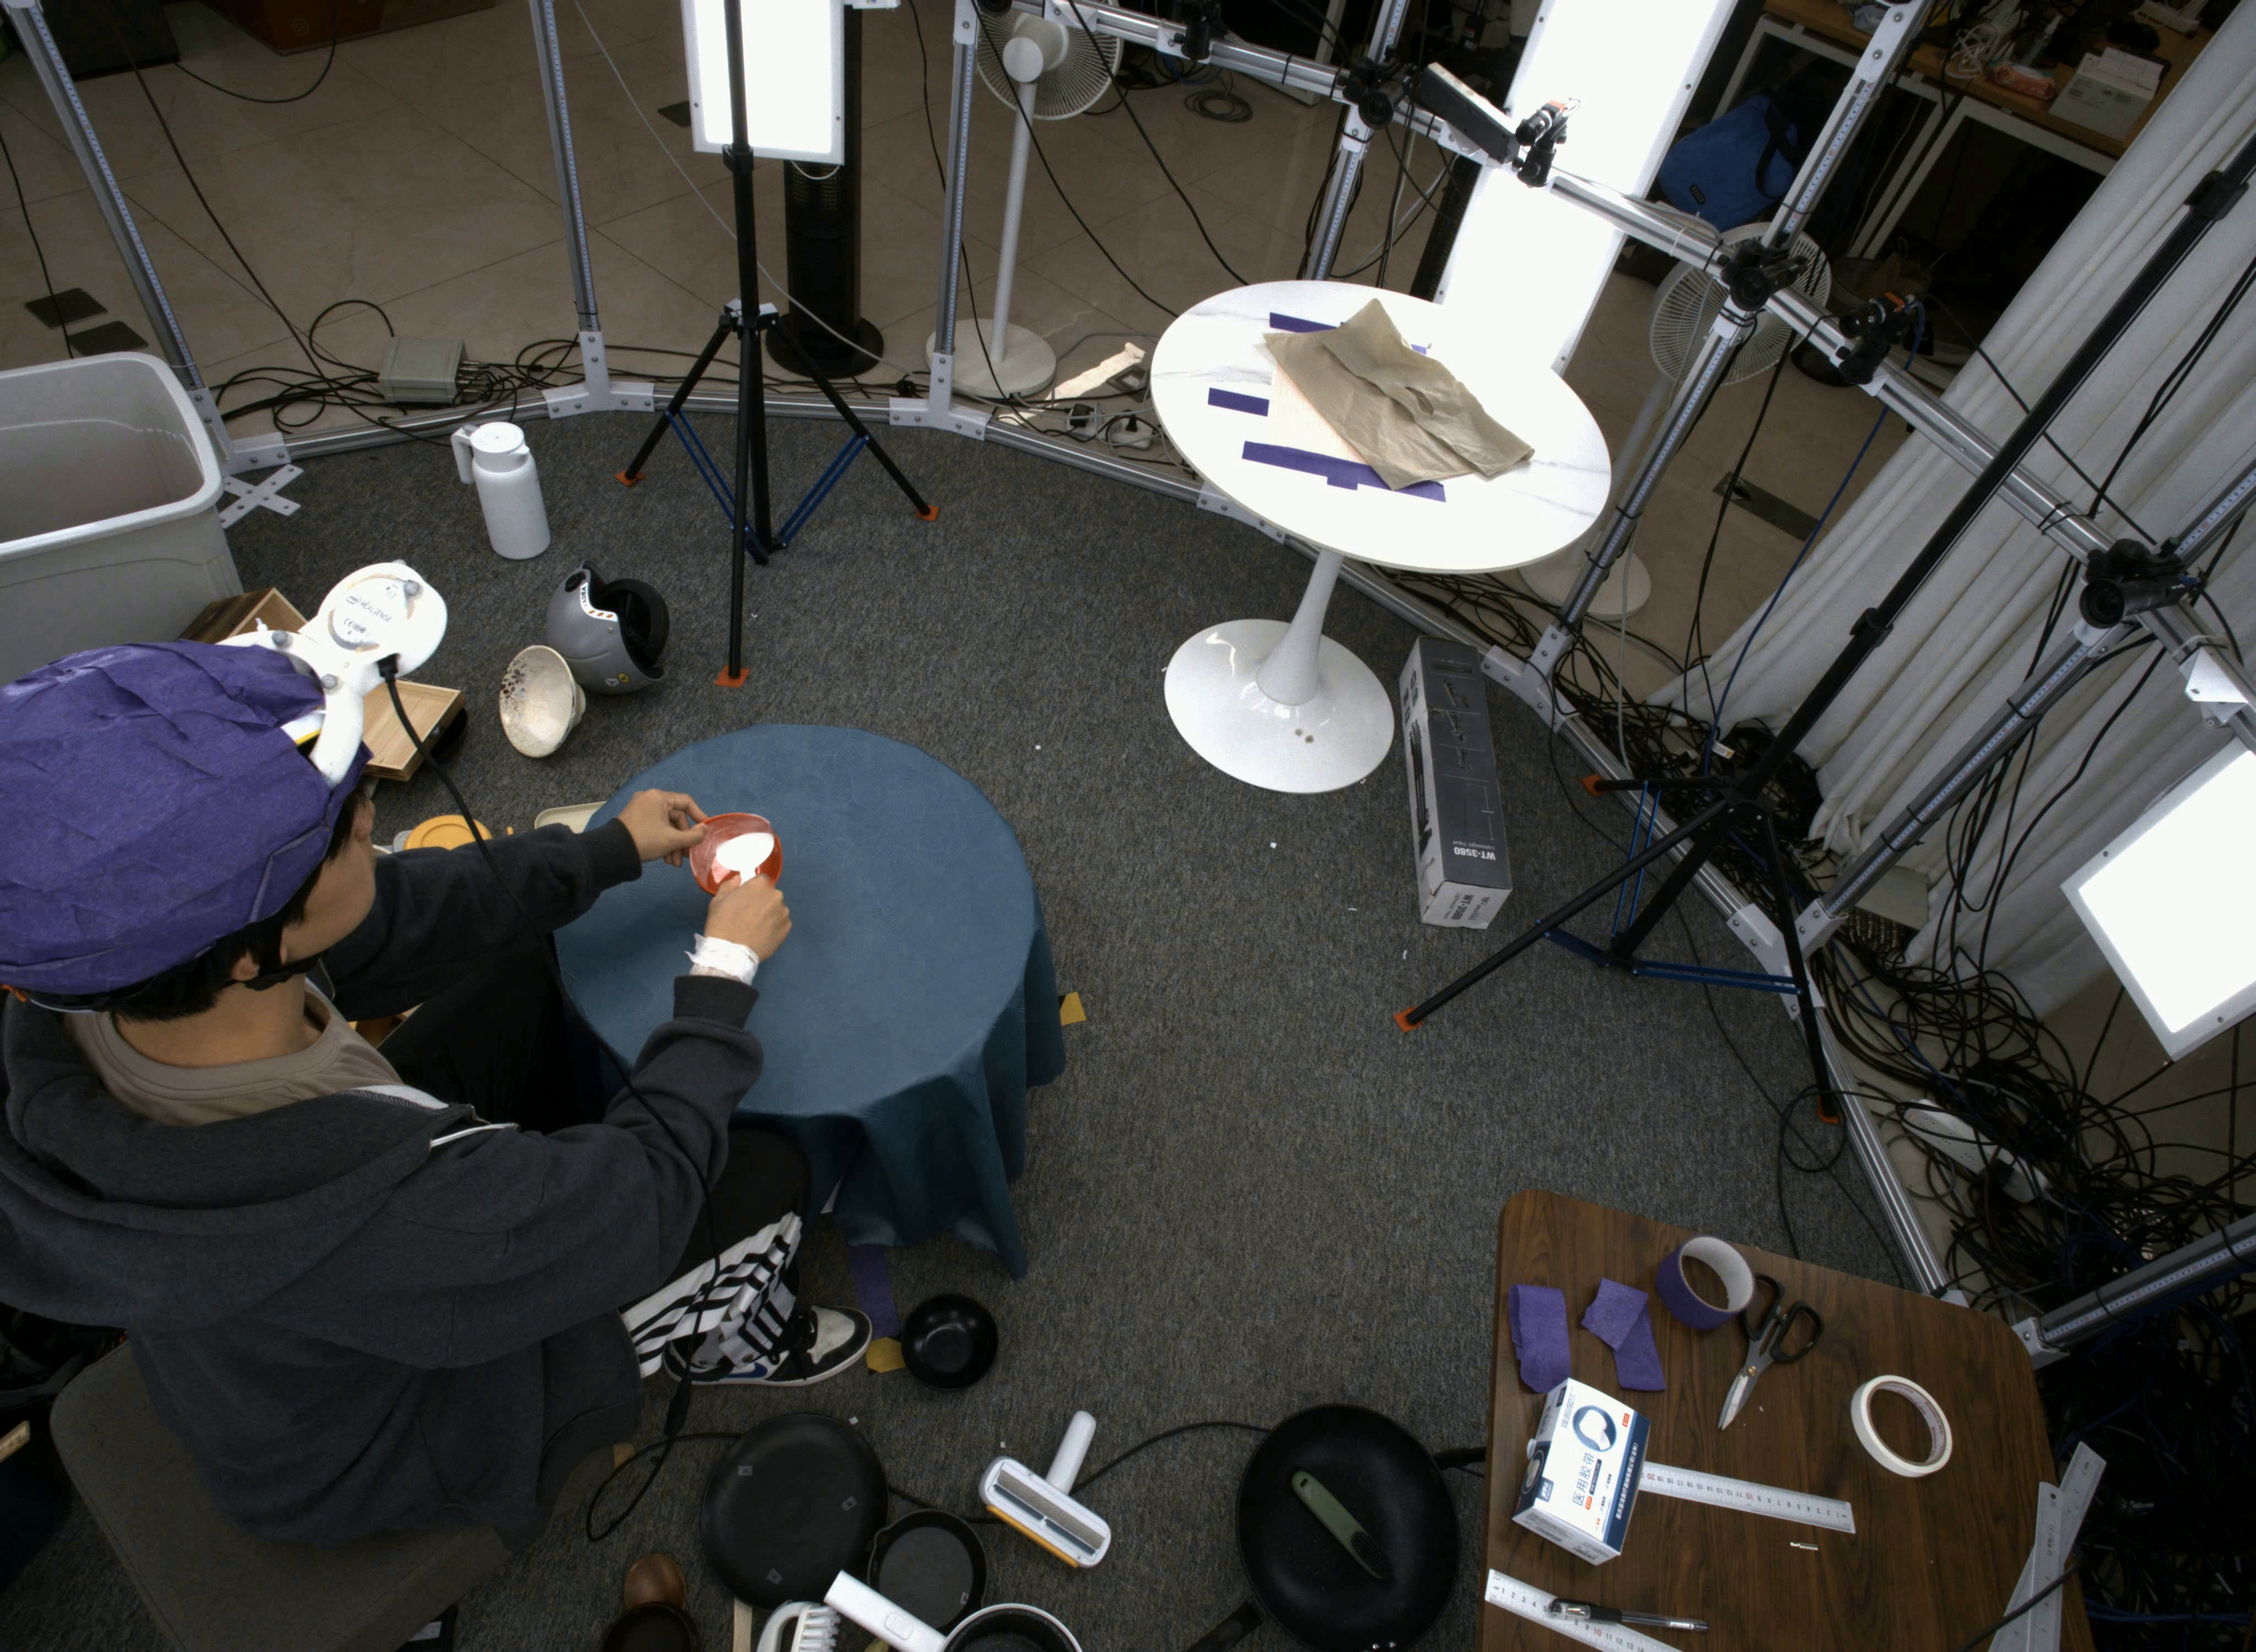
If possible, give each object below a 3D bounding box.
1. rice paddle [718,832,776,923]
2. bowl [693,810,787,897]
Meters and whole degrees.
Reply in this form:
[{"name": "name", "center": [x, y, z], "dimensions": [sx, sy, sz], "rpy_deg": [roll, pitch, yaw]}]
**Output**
[{"name": "rice paddle", "center": [-0.431, 0.047, 1.474], "dimensions": [0.069, 0.030, 0.198], "rpy_deg": [-14, 29, -13]}, {"name": "bowl", "center": [-0.477, 0.040, 1.585], "dimensions": [0.120, 0.051, 0.117], "rpy_deg": [10, 62, -17]}]
